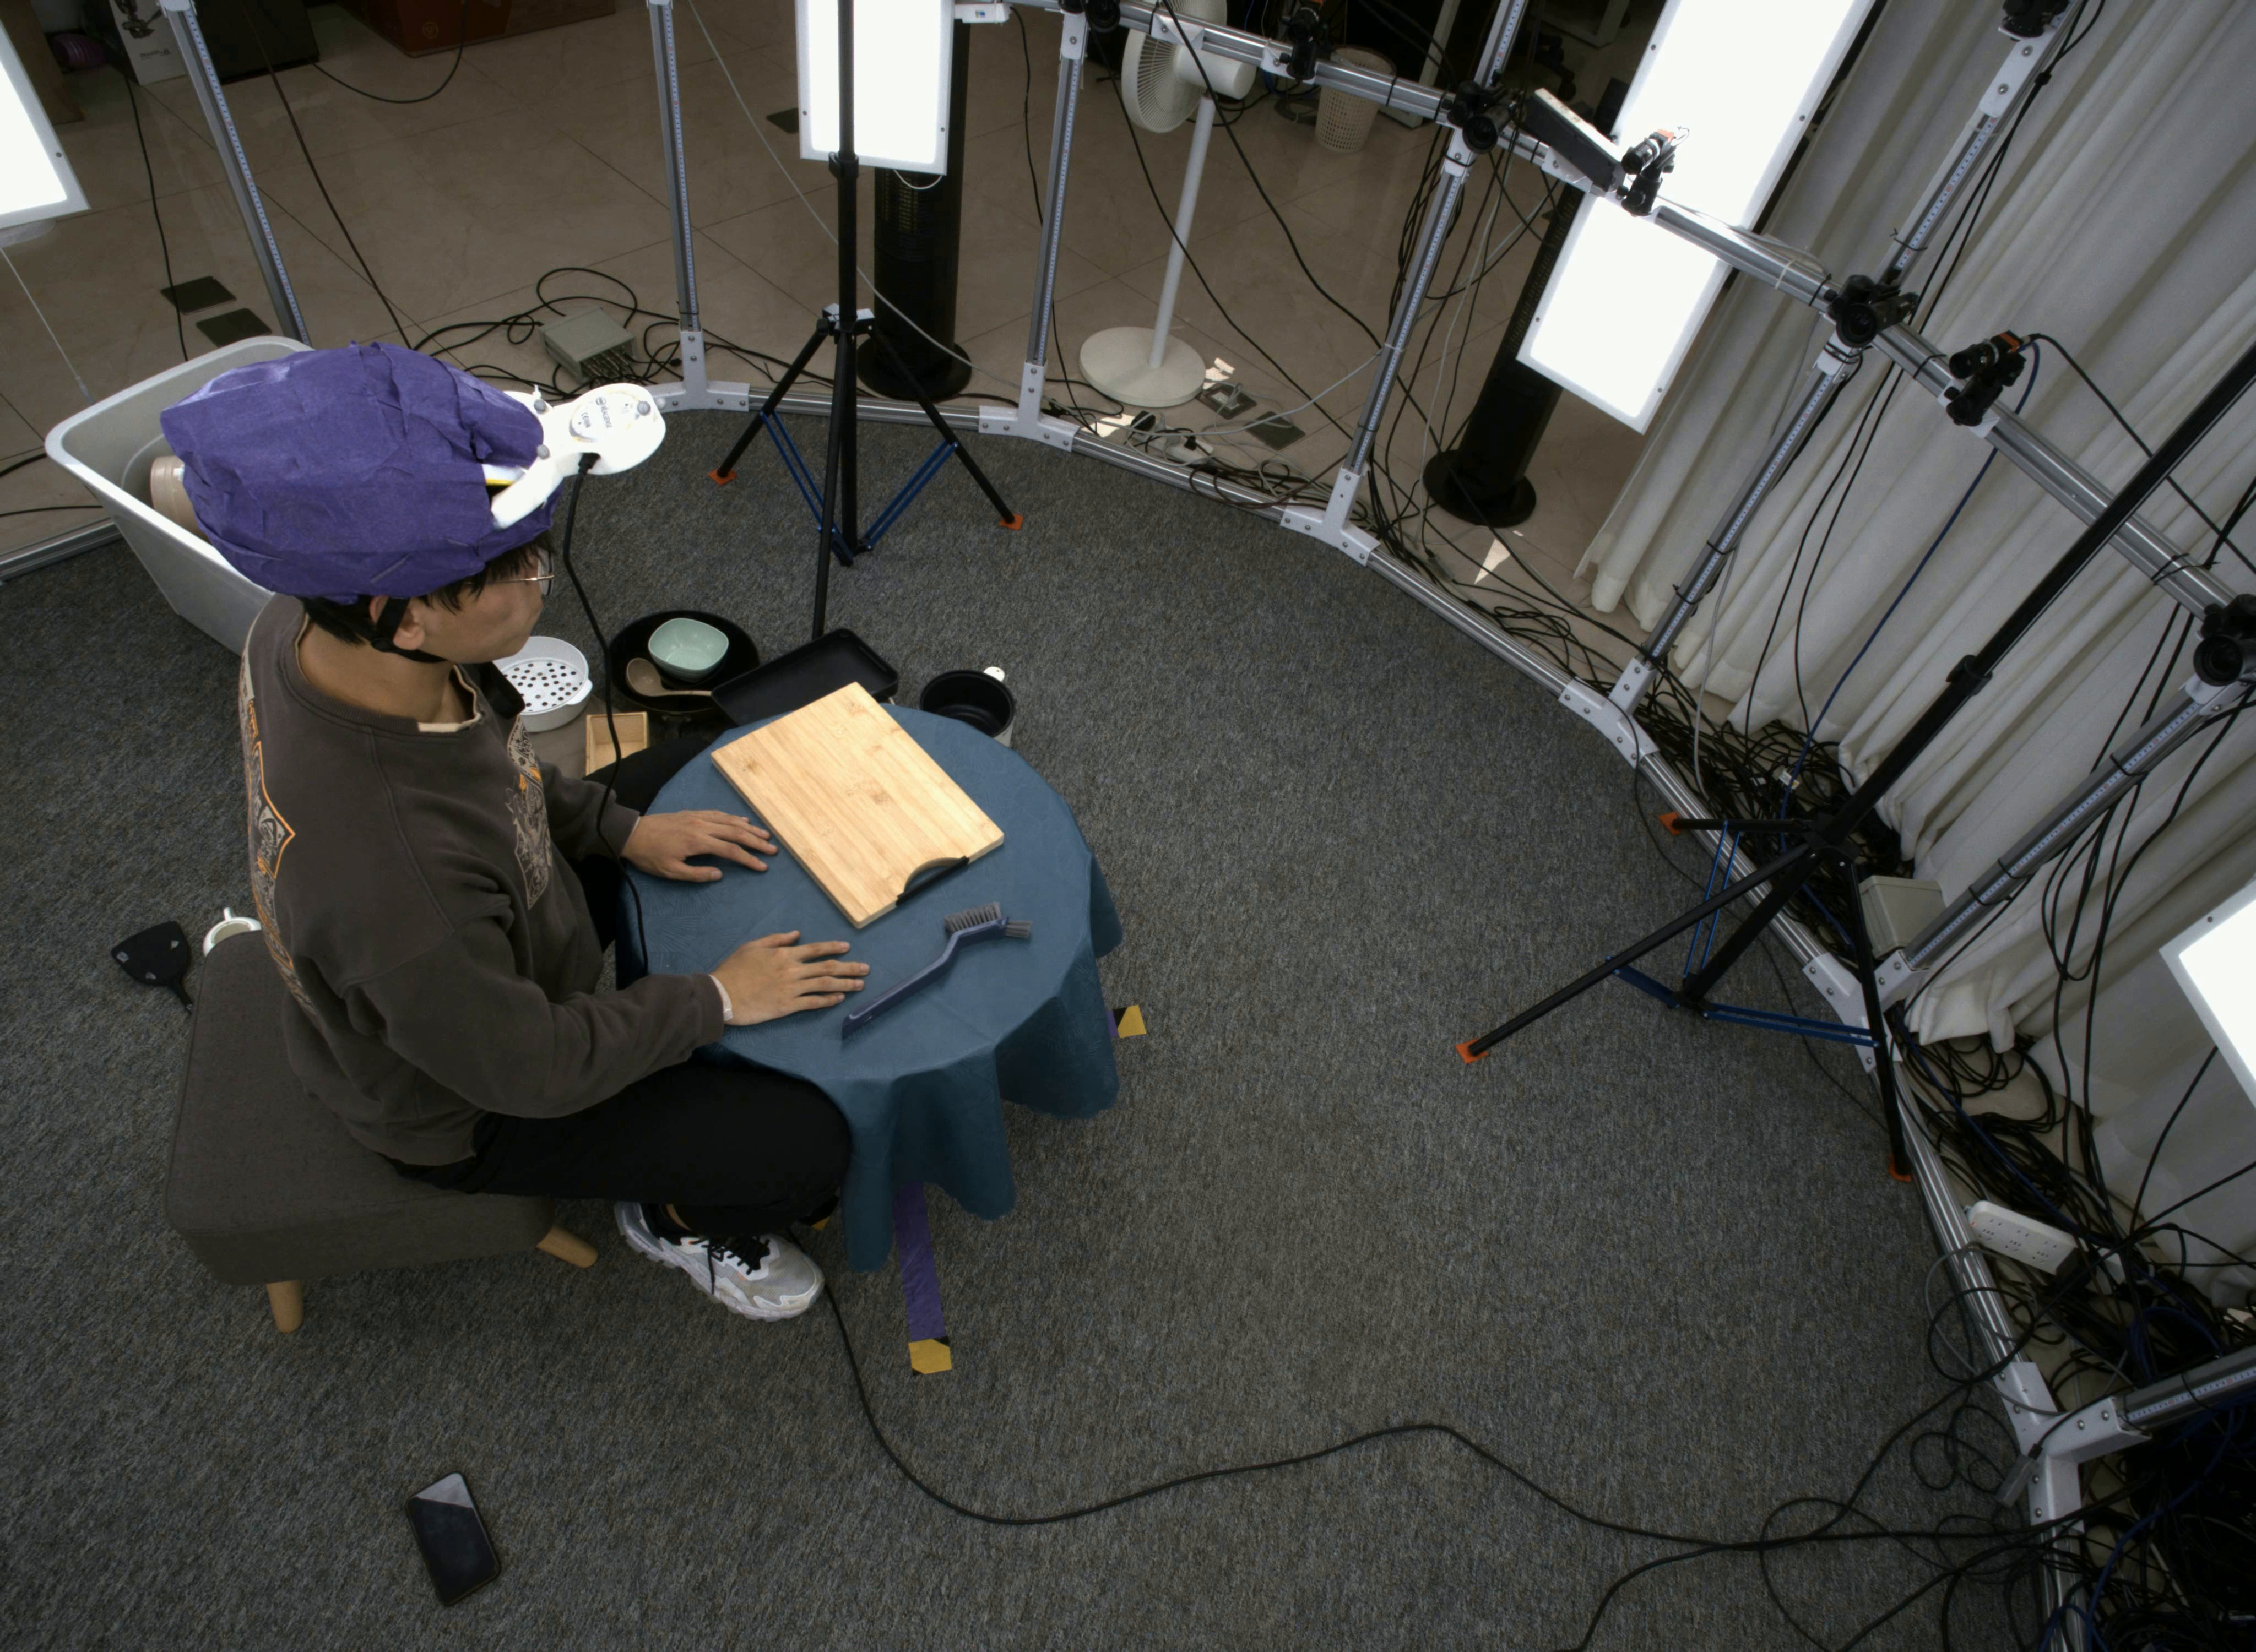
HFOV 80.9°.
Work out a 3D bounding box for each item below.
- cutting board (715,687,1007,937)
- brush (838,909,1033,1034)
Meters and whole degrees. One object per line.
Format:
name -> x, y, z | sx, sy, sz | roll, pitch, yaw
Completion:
cutting board -> -0.363, -0.033, 1.767 | 0.251, 0.024, 0.340 | -35, 68, -31
brush -> -0.241, 0.185, 1.628 | 0.094, 0.034, 0.273 | 39, 54, 15
